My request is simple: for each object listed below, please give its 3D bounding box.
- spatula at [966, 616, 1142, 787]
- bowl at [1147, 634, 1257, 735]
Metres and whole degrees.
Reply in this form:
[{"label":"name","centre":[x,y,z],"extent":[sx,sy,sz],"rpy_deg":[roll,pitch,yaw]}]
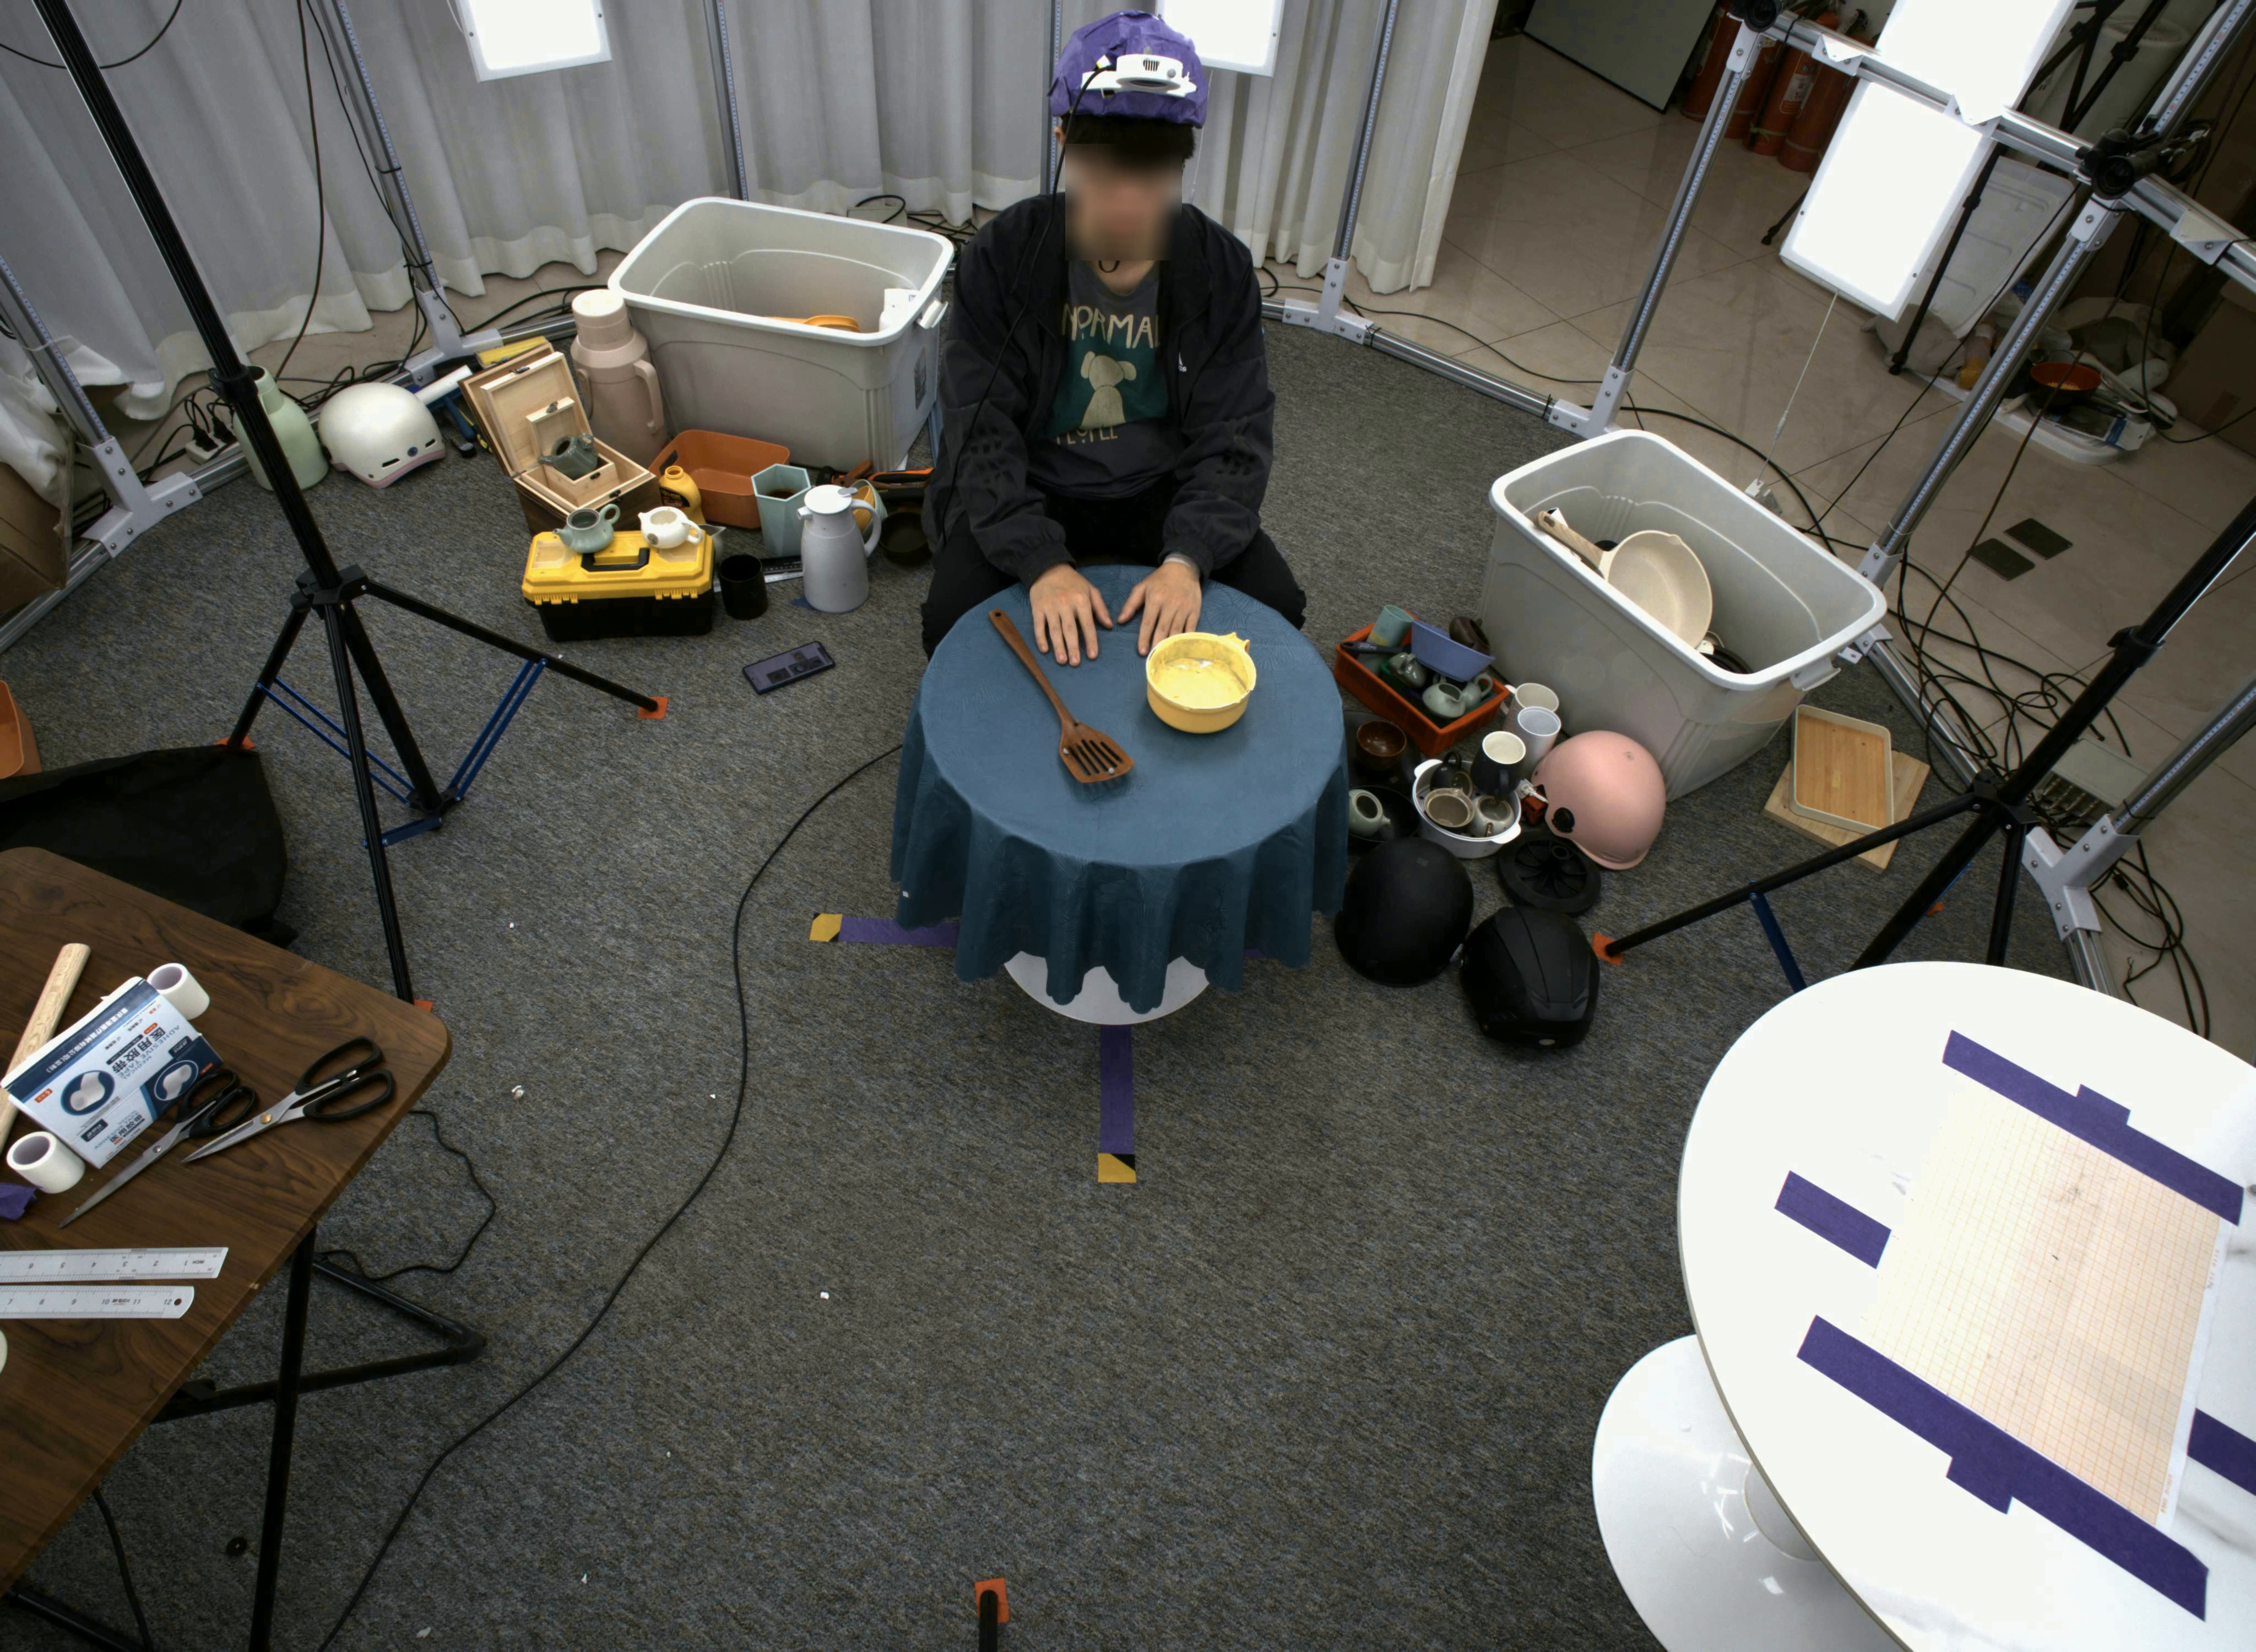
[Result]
[{"label":"spatula","centre":[-0.121,-0.180,1.811],"extent":[0.086,0.023,0.394],"rpy_deg":[-21,55,-32]},{"label":"bowl","centre":[0.109,-0.203,1.809],"extent":[0.154,0.072,0.182],"rpy_deg":[28,53,19]}]
